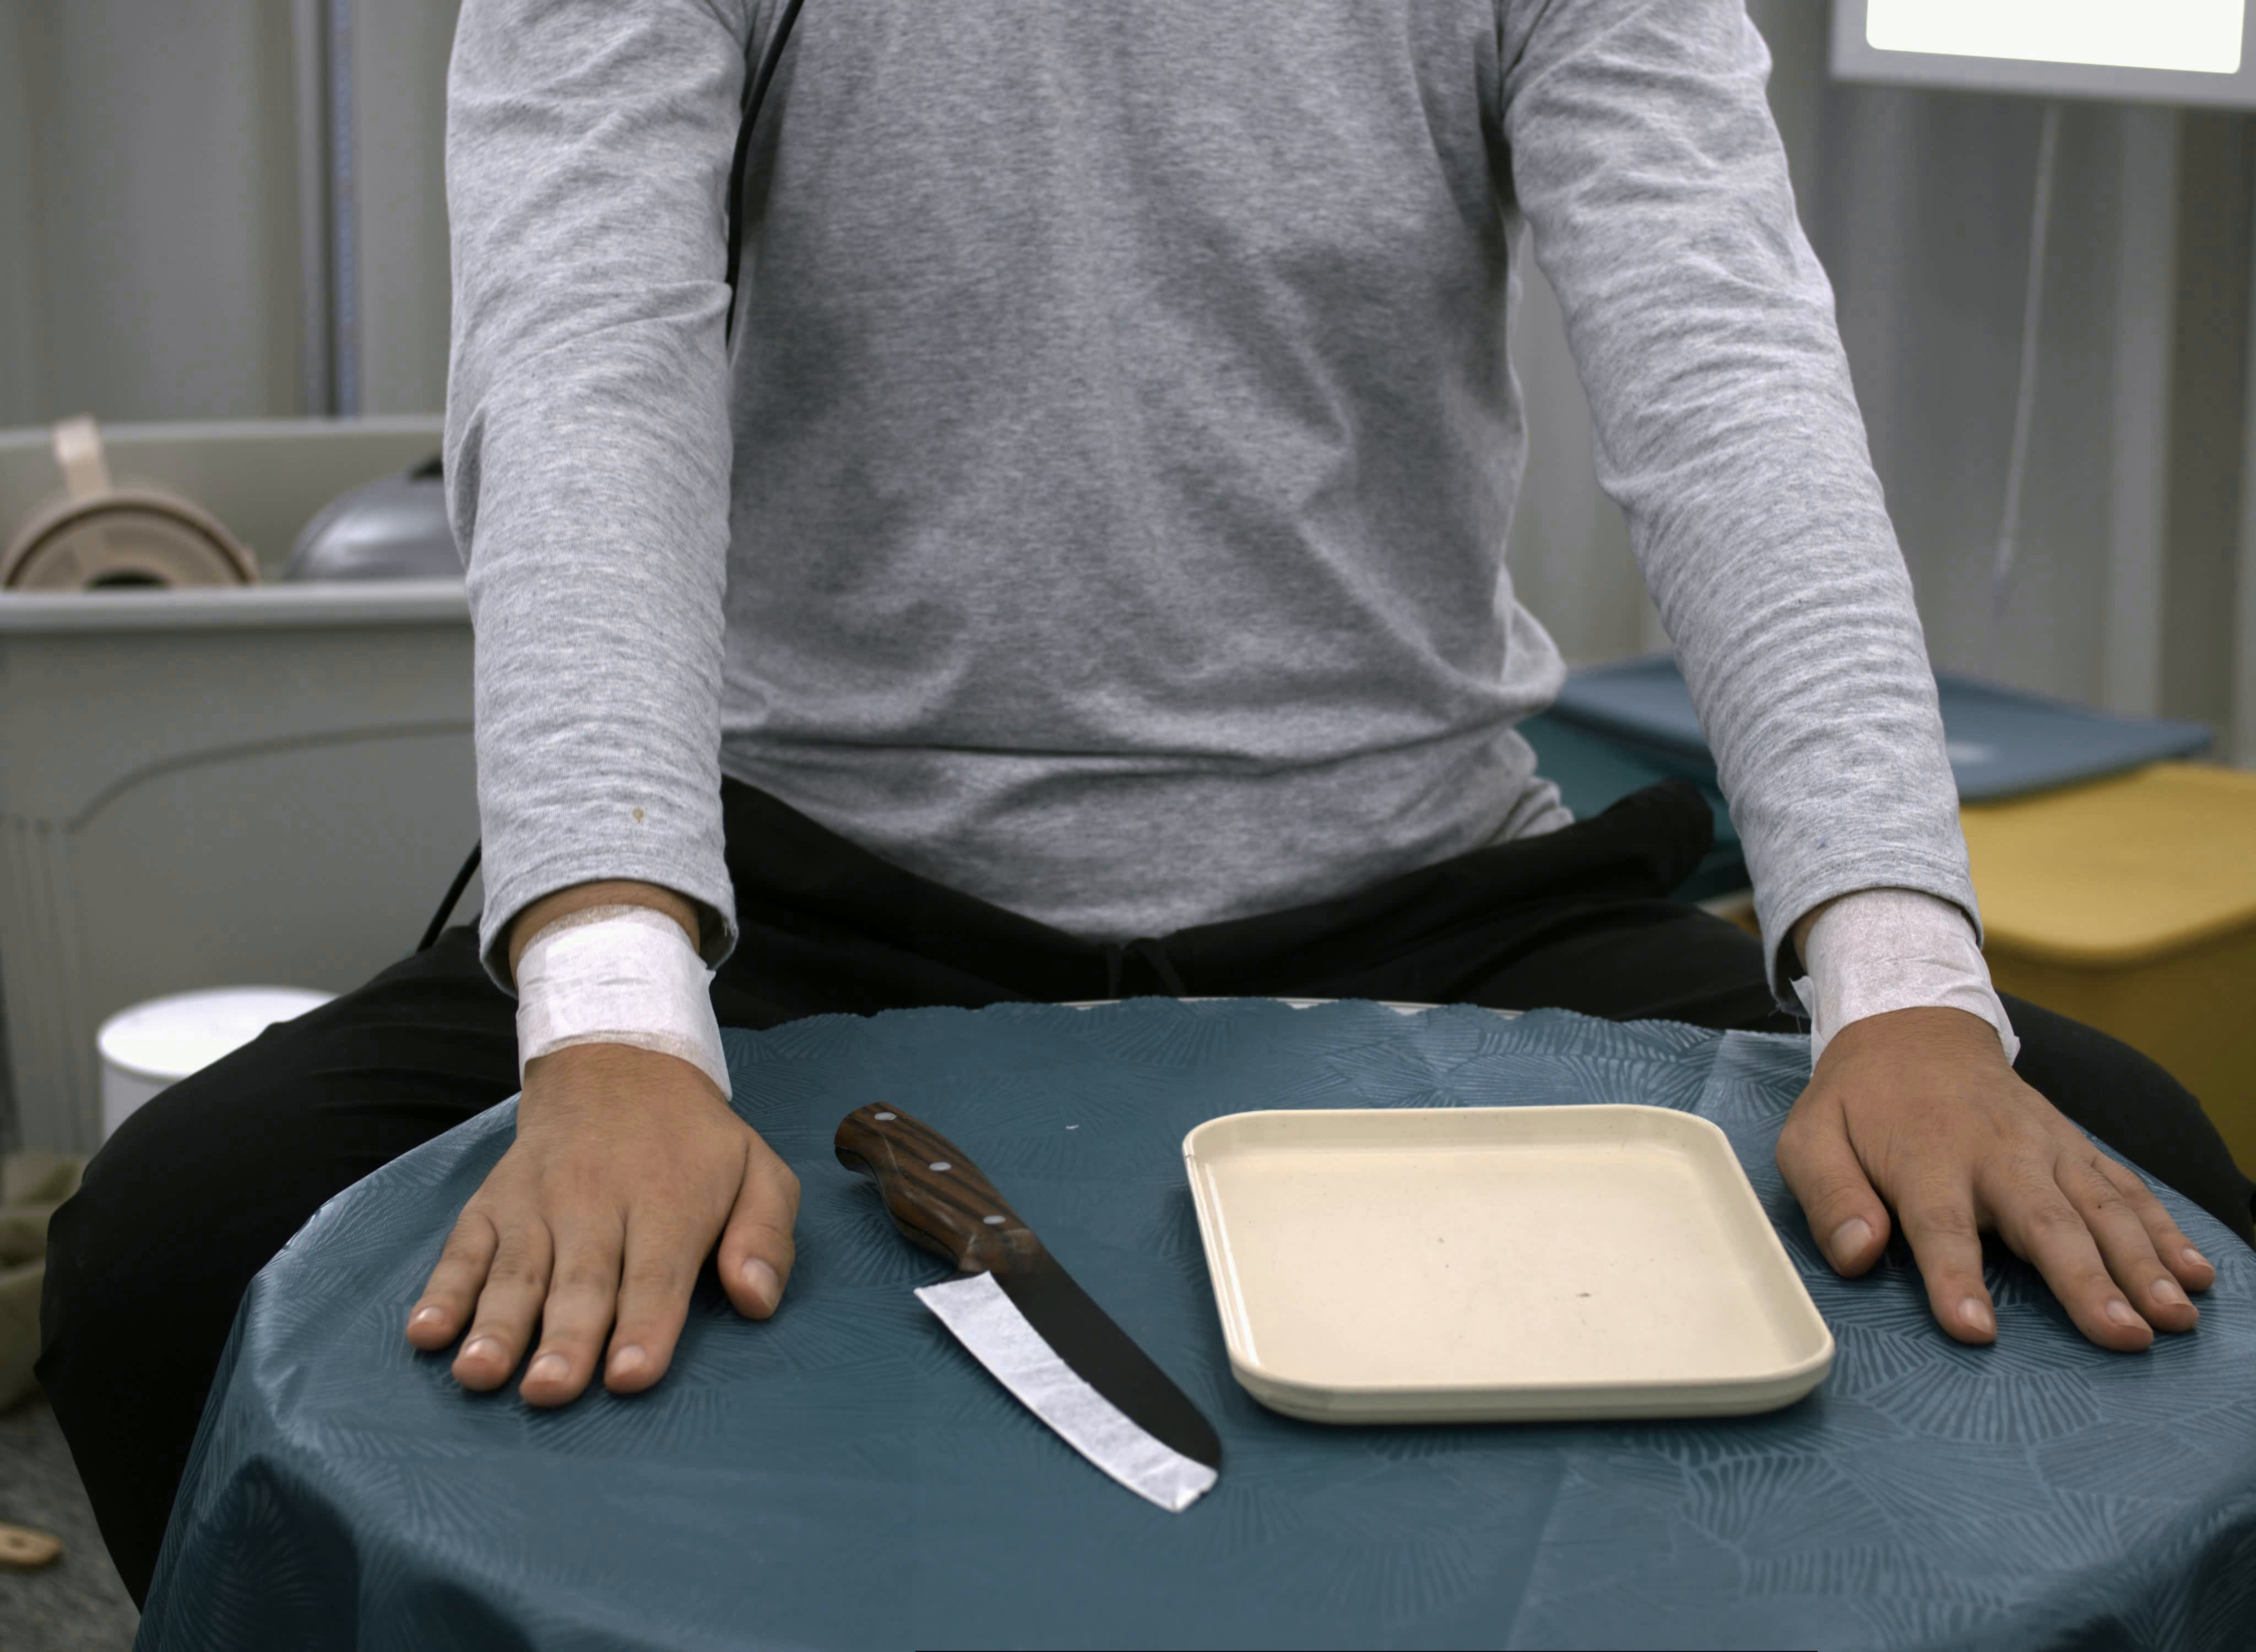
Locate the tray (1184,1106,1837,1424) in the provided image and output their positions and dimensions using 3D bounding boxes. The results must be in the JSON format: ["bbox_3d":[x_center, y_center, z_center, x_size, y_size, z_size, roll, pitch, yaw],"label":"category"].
[{"bbox_3d":[0.107,0.127,1.543,0.171,0.017,0.238,0,15,-3],"label":"tray"}]

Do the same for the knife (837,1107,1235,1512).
[{"bbox_3d":[-0.031,0.137,1.507,0.050,0.020,0.286,-10,20,-18],"label":"knife"}]
